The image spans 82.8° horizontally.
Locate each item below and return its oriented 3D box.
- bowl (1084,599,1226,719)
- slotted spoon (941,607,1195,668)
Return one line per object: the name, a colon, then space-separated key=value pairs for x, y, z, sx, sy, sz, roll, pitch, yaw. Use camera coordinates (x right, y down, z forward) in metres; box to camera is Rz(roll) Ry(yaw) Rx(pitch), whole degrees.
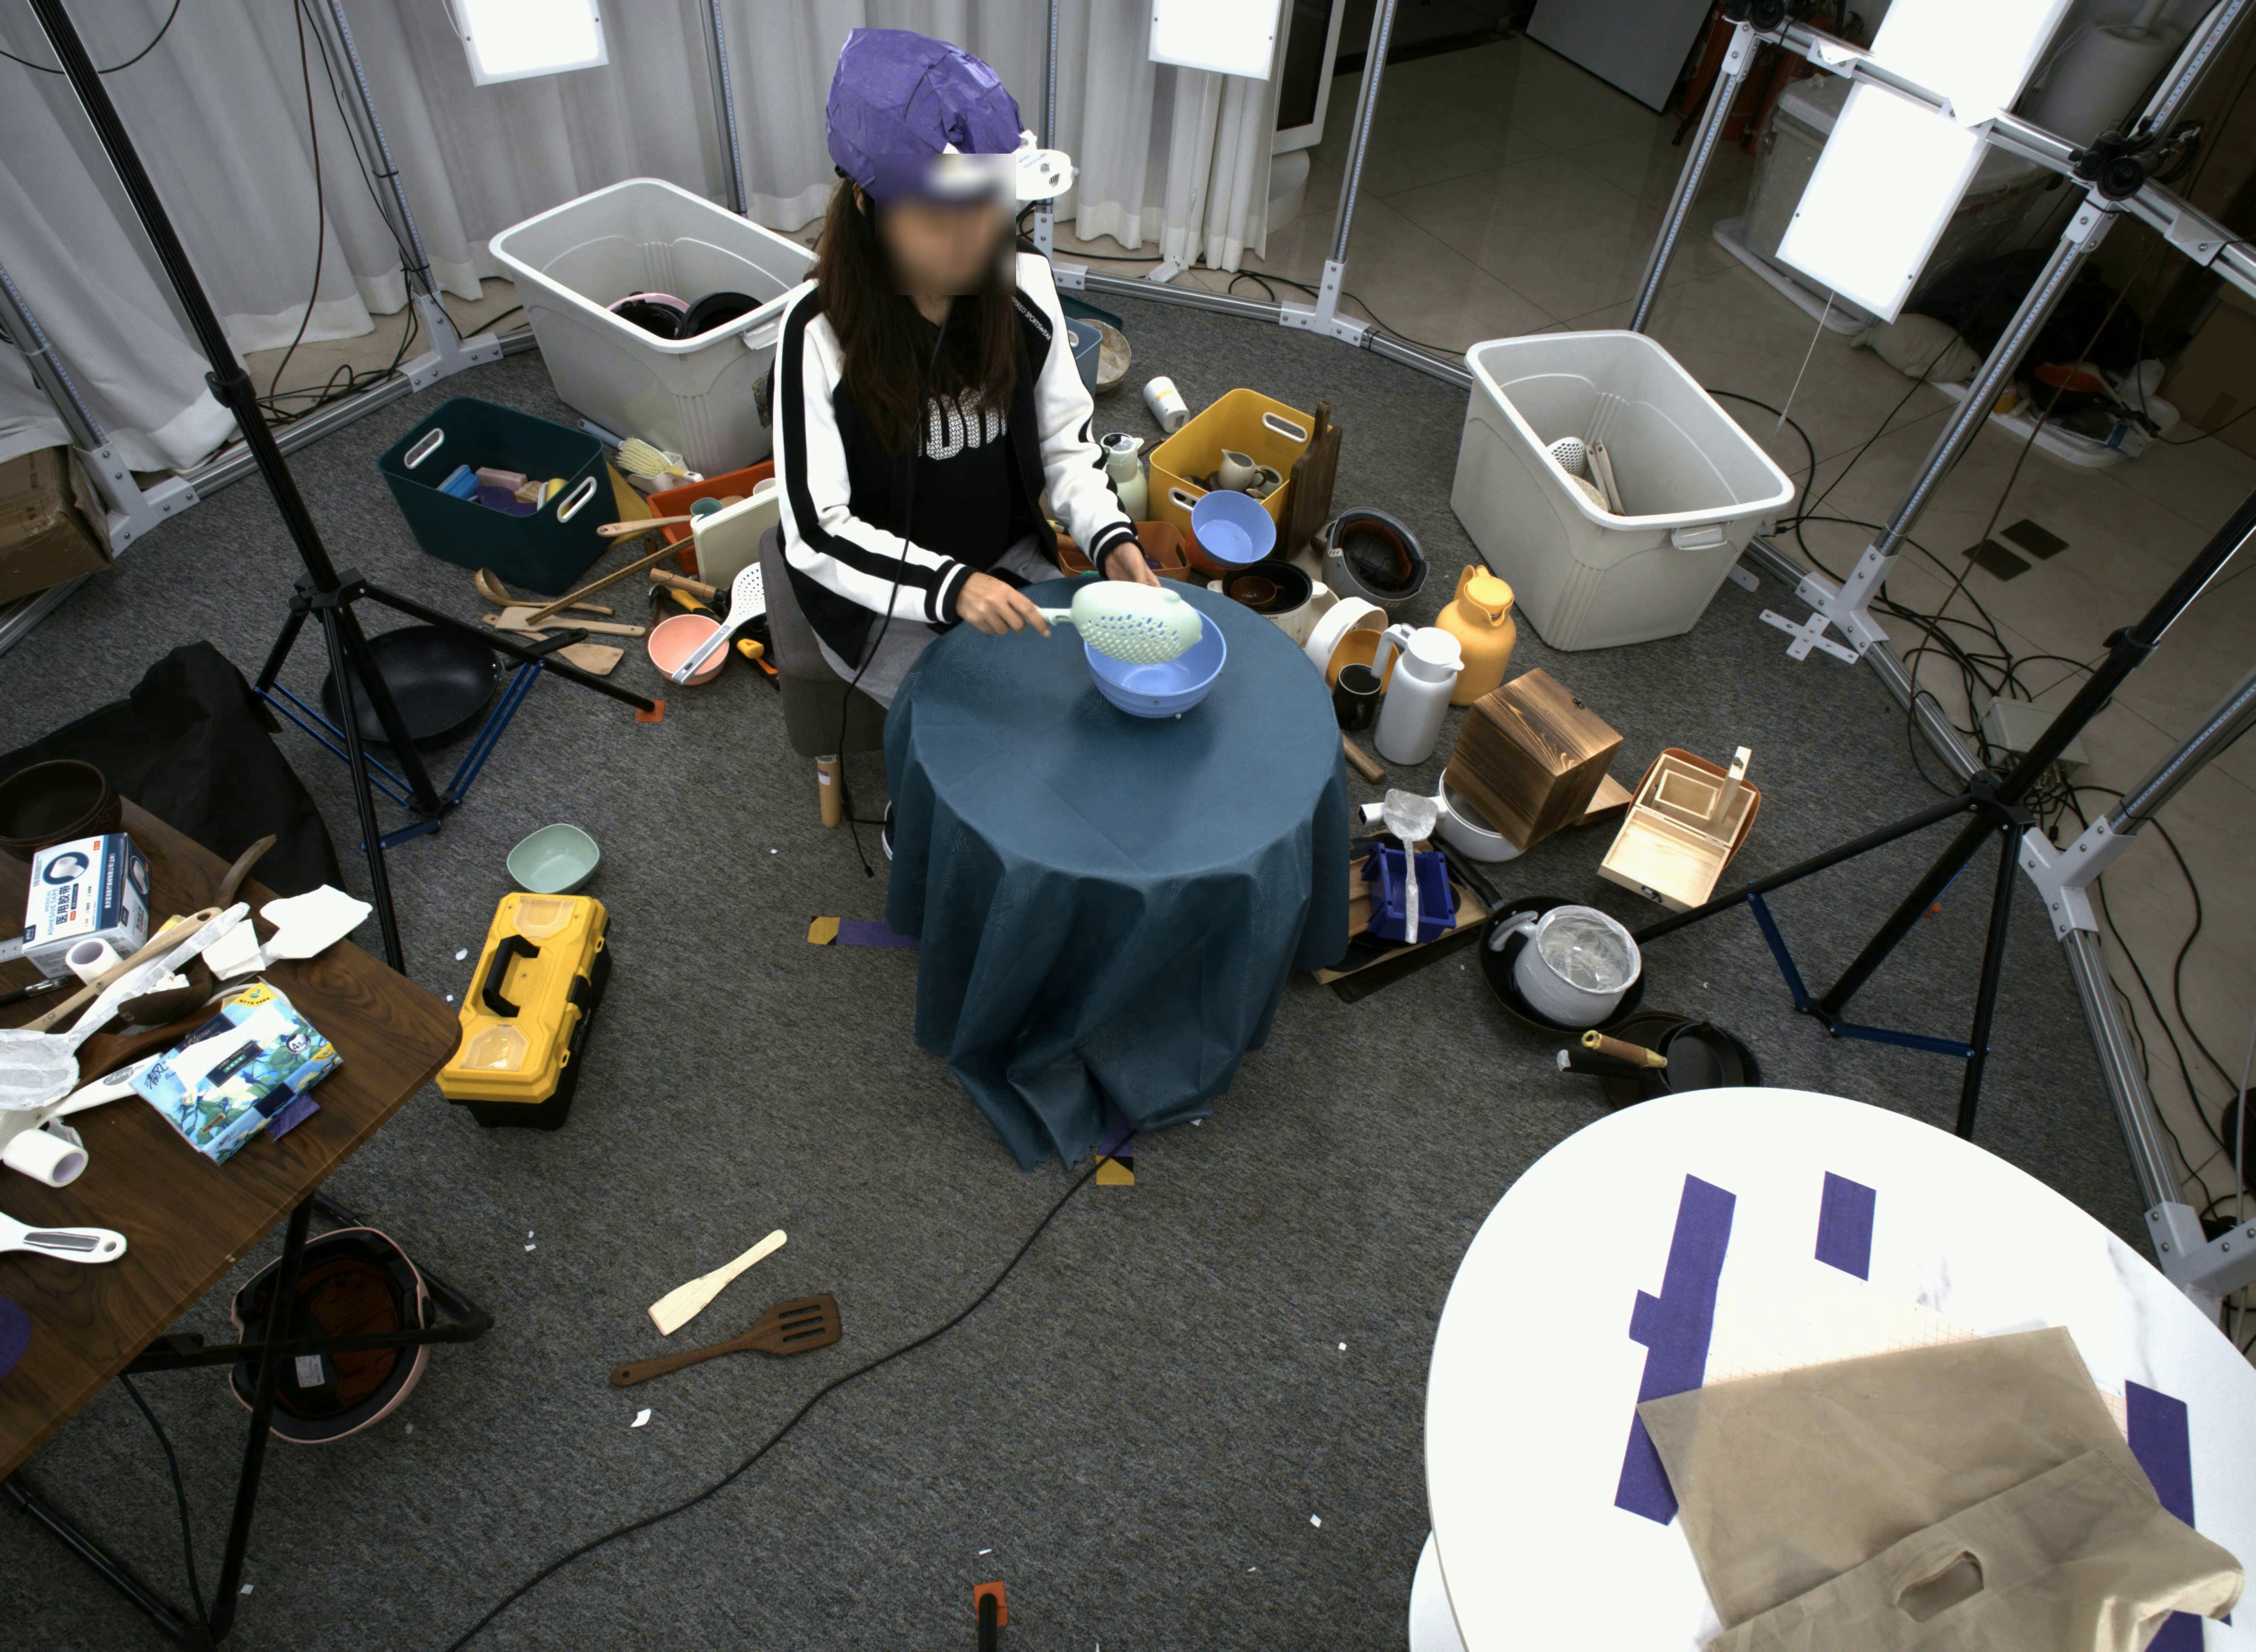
bowl: x=0.035 y=-0.219 z=1.802 sx=0.196 sy=0.093 sz=0.201 roll=2 pitch=49 yaw=-2
slotted spoon: x=-0.090 y=-0.263 z=1.691 sx=0.362 sy=0.075 sz=0.169 roll=17 pitch=9 yaw=24
